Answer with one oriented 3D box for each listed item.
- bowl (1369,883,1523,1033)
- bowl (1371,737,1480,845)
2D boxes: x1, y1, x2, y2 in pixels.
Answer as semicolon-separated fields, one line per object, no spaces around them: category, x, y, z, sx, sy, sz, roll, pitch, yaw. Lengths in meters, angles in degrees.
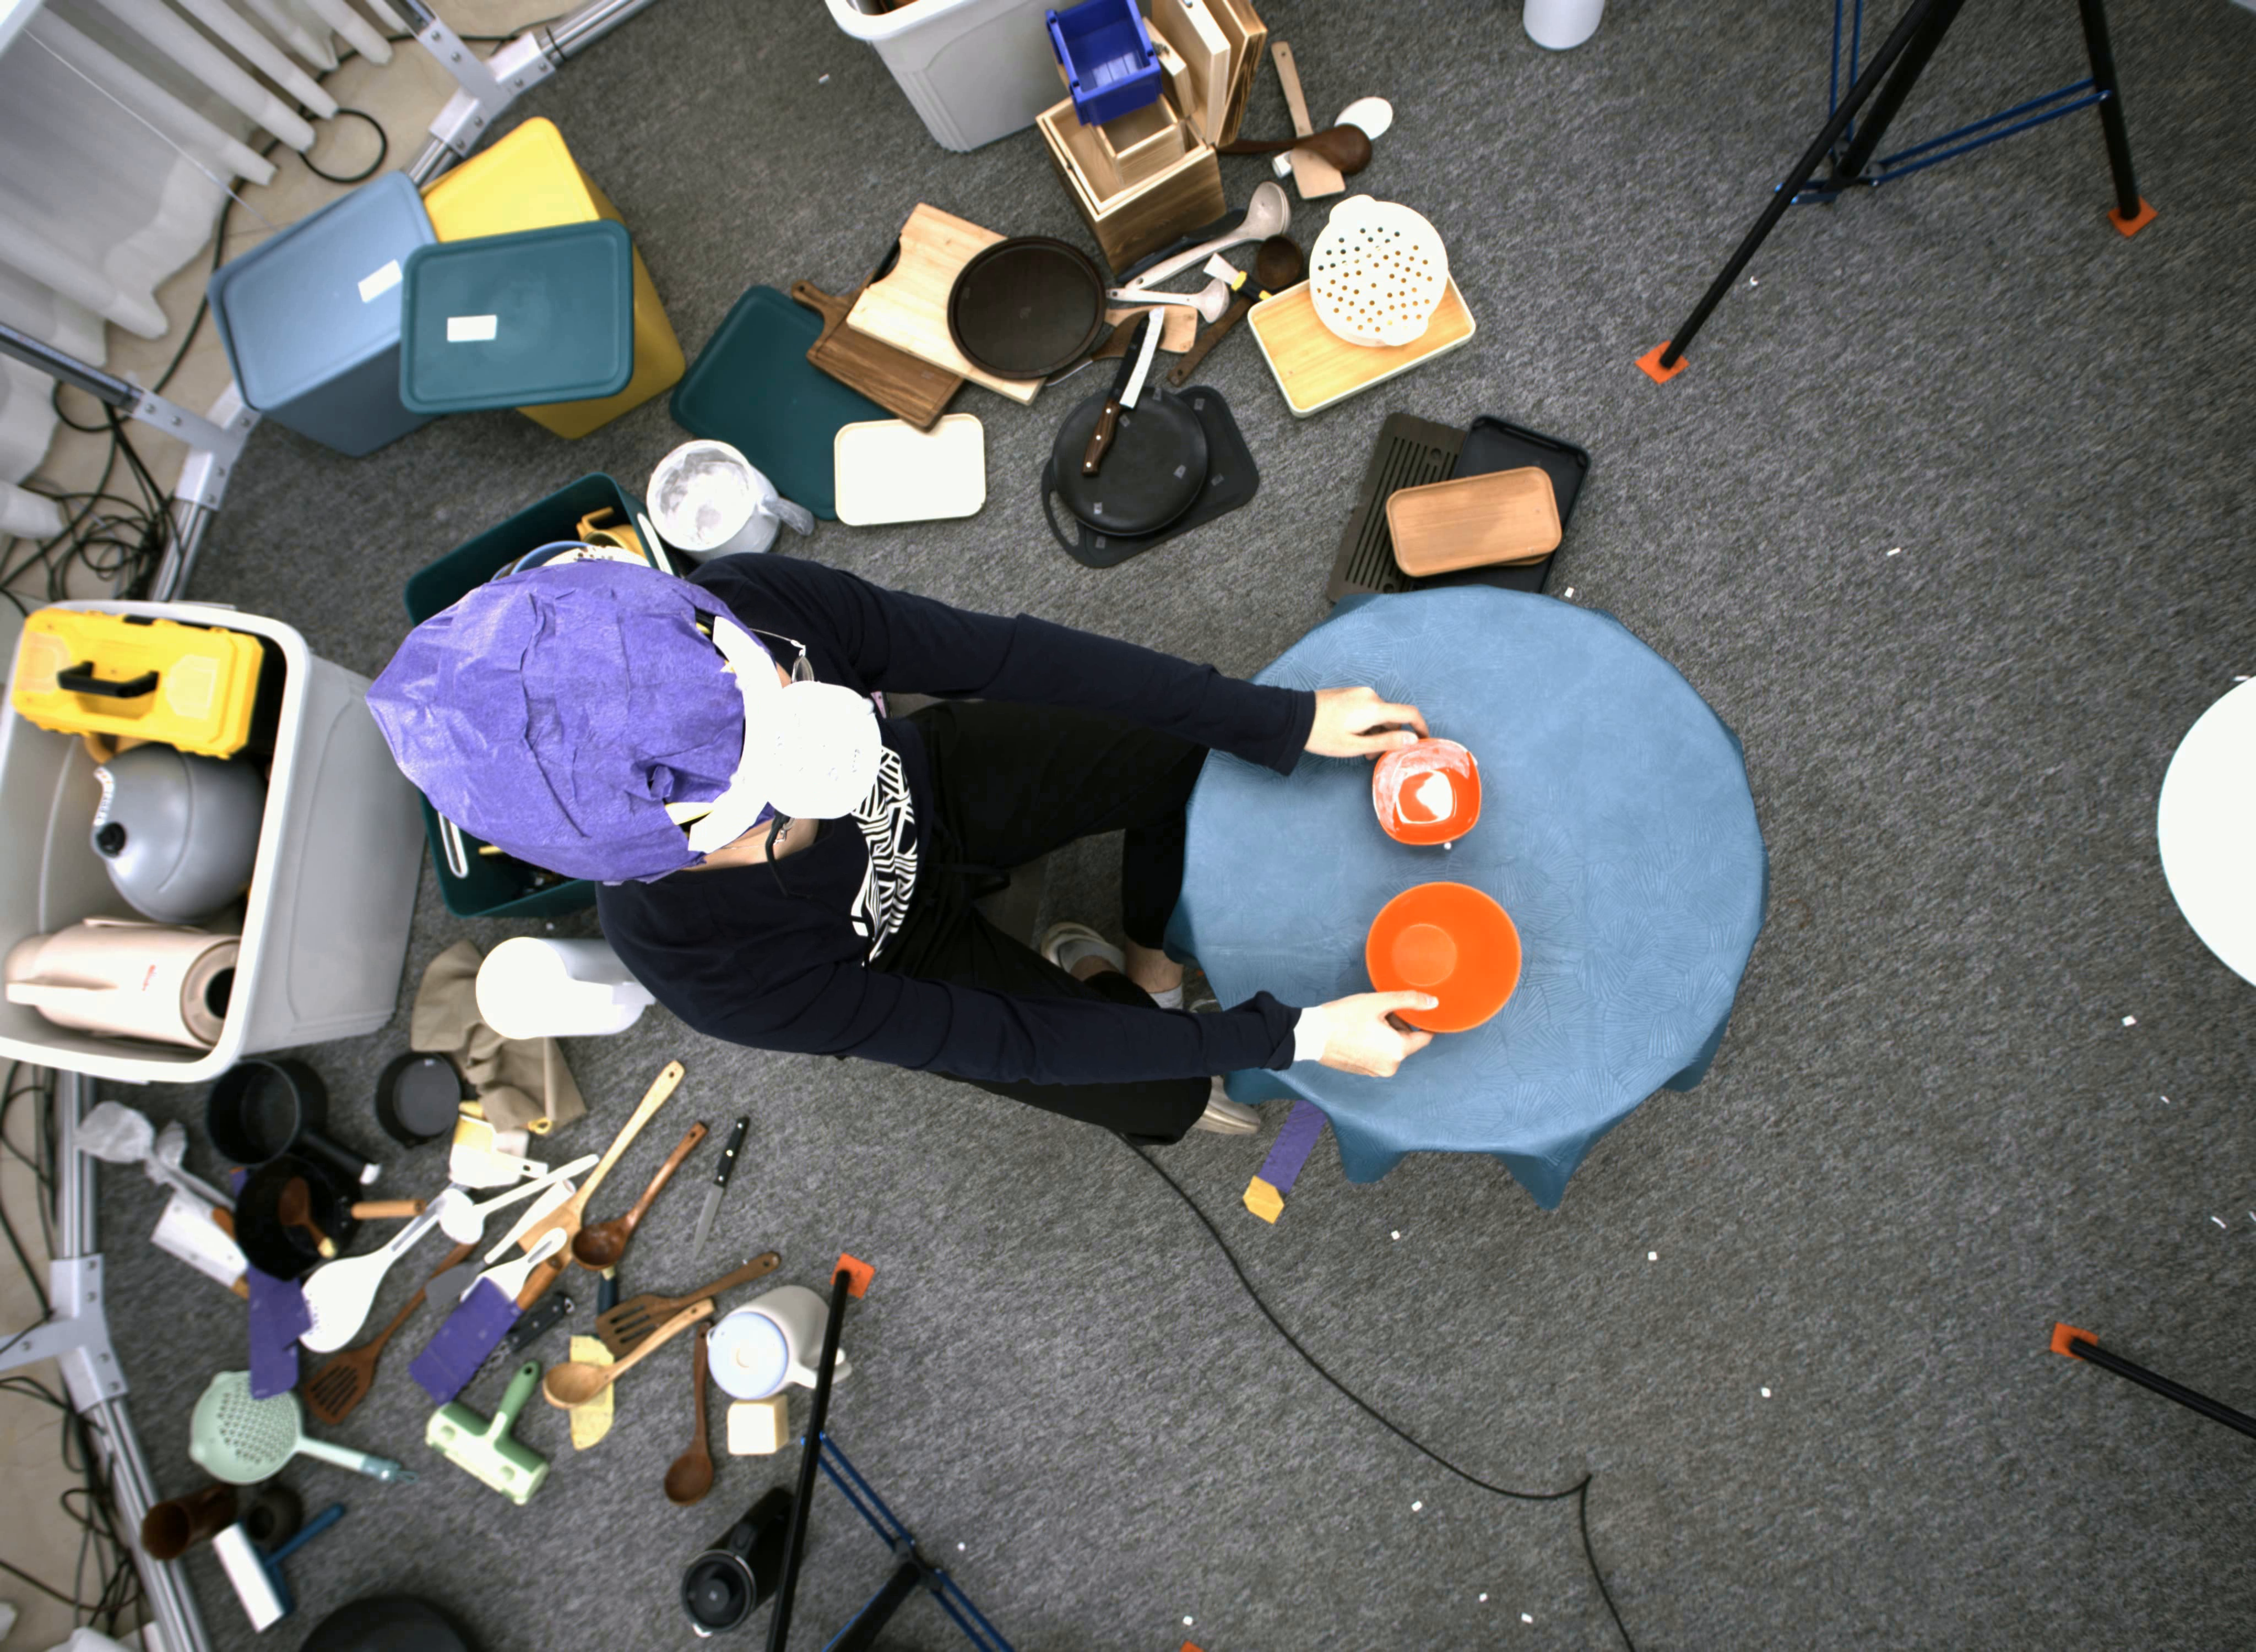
bowl;0.316;0.131;1.397;0.148;0.104;0.147;0;87;7
bowl;0.310;-0.036;1.434;0.119;0.051;0.118;-1;88;12
